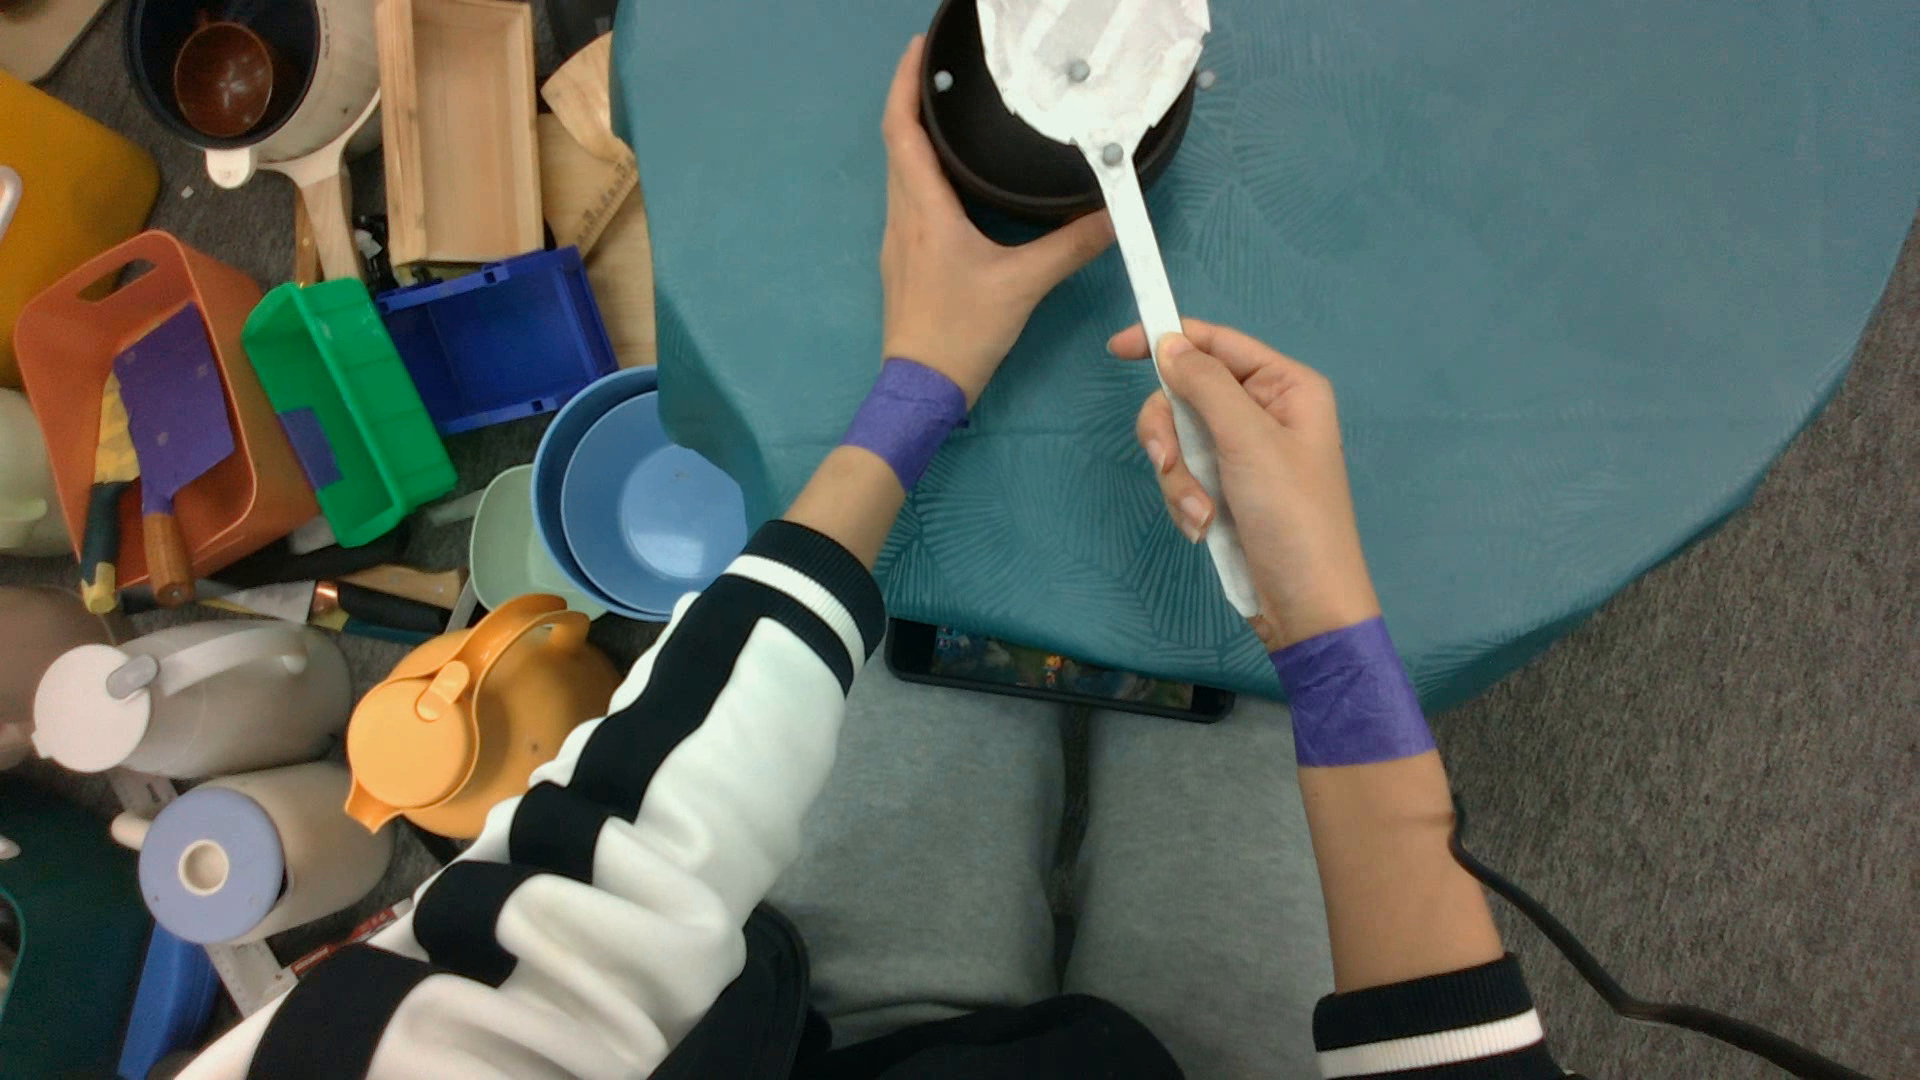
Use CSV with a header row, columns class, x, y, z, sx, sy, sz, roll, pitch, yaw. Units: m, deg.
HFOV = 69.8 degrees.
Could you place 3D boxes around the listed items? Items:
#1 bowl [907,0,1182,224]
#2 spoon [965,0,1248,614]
class,x,y,z,sx,sy,sz,roll,pitch,yaw
bowl,0.038,-0.197,0.612,0.118,0.070,0.118,0,86,5
spoon,0.070,-0.109,0.517,0.101,0.059,0.278,-11,79,-13
